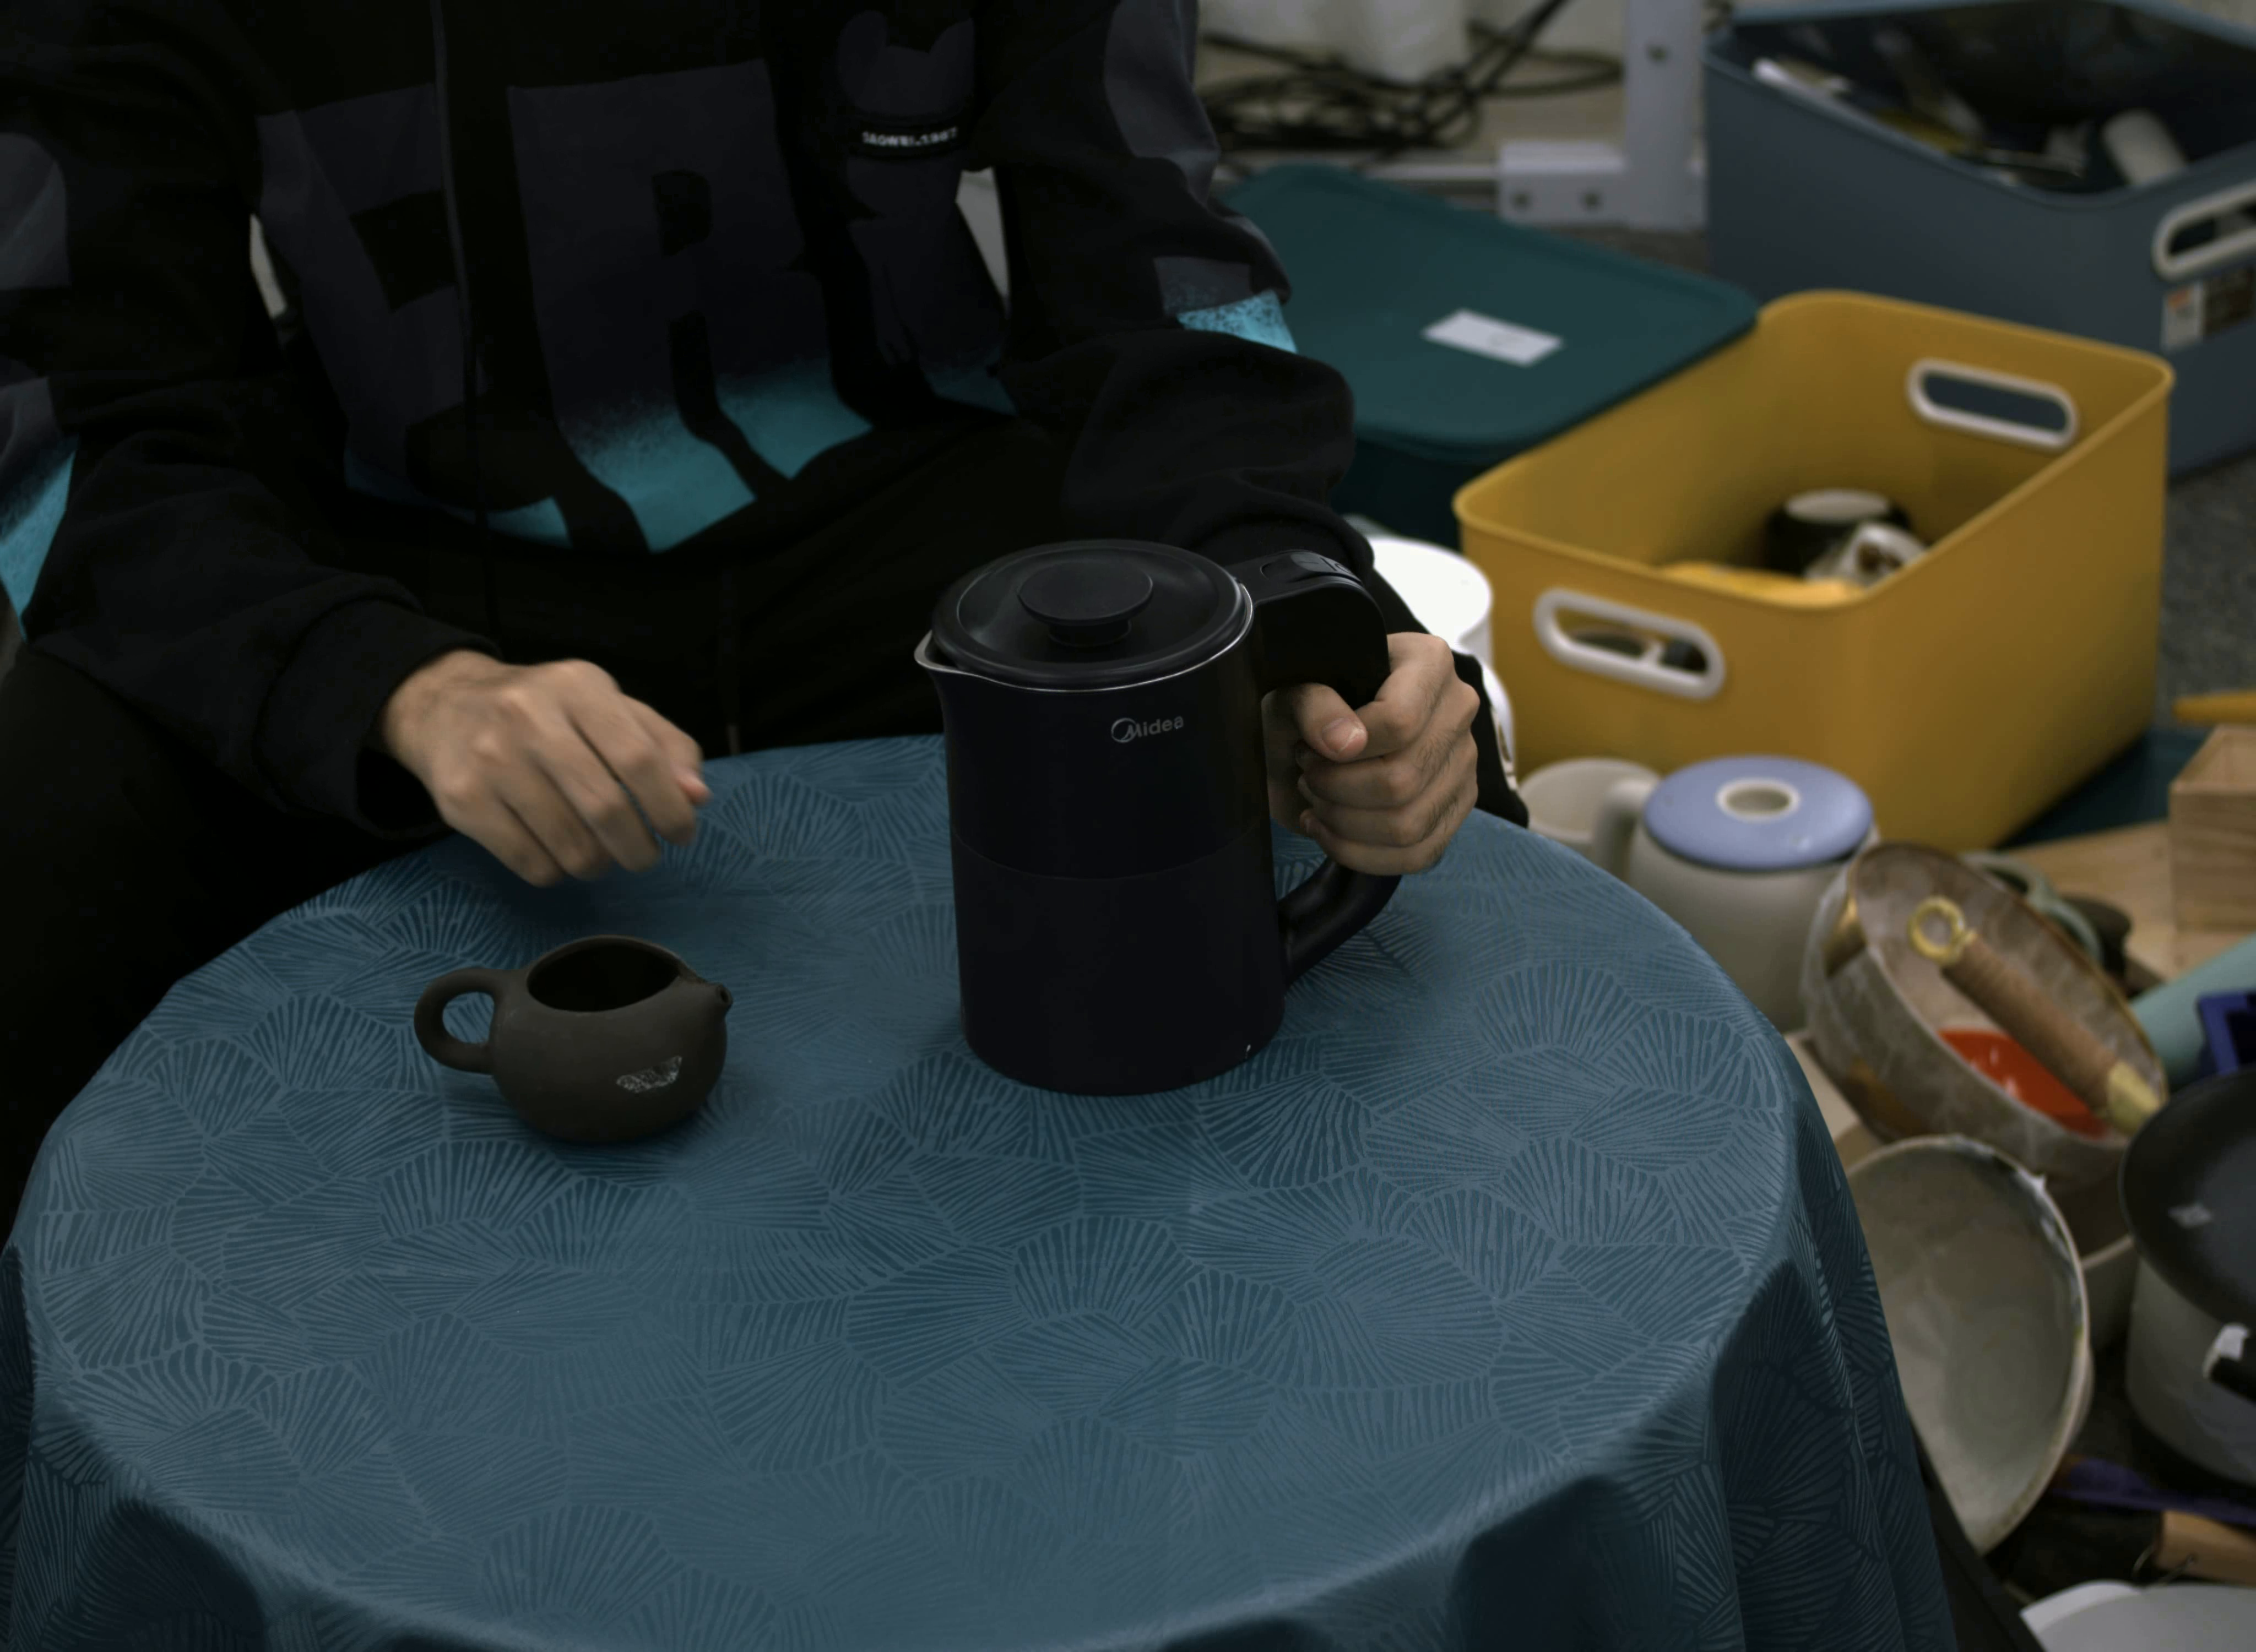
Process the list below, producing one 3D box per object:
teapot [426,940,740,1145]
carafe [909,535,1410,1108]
[{"bbox_3d":[-0.187,0.072,1.920,0.113,0.052,0.084,8,28,15],"label":"teapot"},{"bbox_3d":[0.013,-0.013,1.935,0.172,0.171,0.115,-17,28,-20],"label":"carafe"}]
